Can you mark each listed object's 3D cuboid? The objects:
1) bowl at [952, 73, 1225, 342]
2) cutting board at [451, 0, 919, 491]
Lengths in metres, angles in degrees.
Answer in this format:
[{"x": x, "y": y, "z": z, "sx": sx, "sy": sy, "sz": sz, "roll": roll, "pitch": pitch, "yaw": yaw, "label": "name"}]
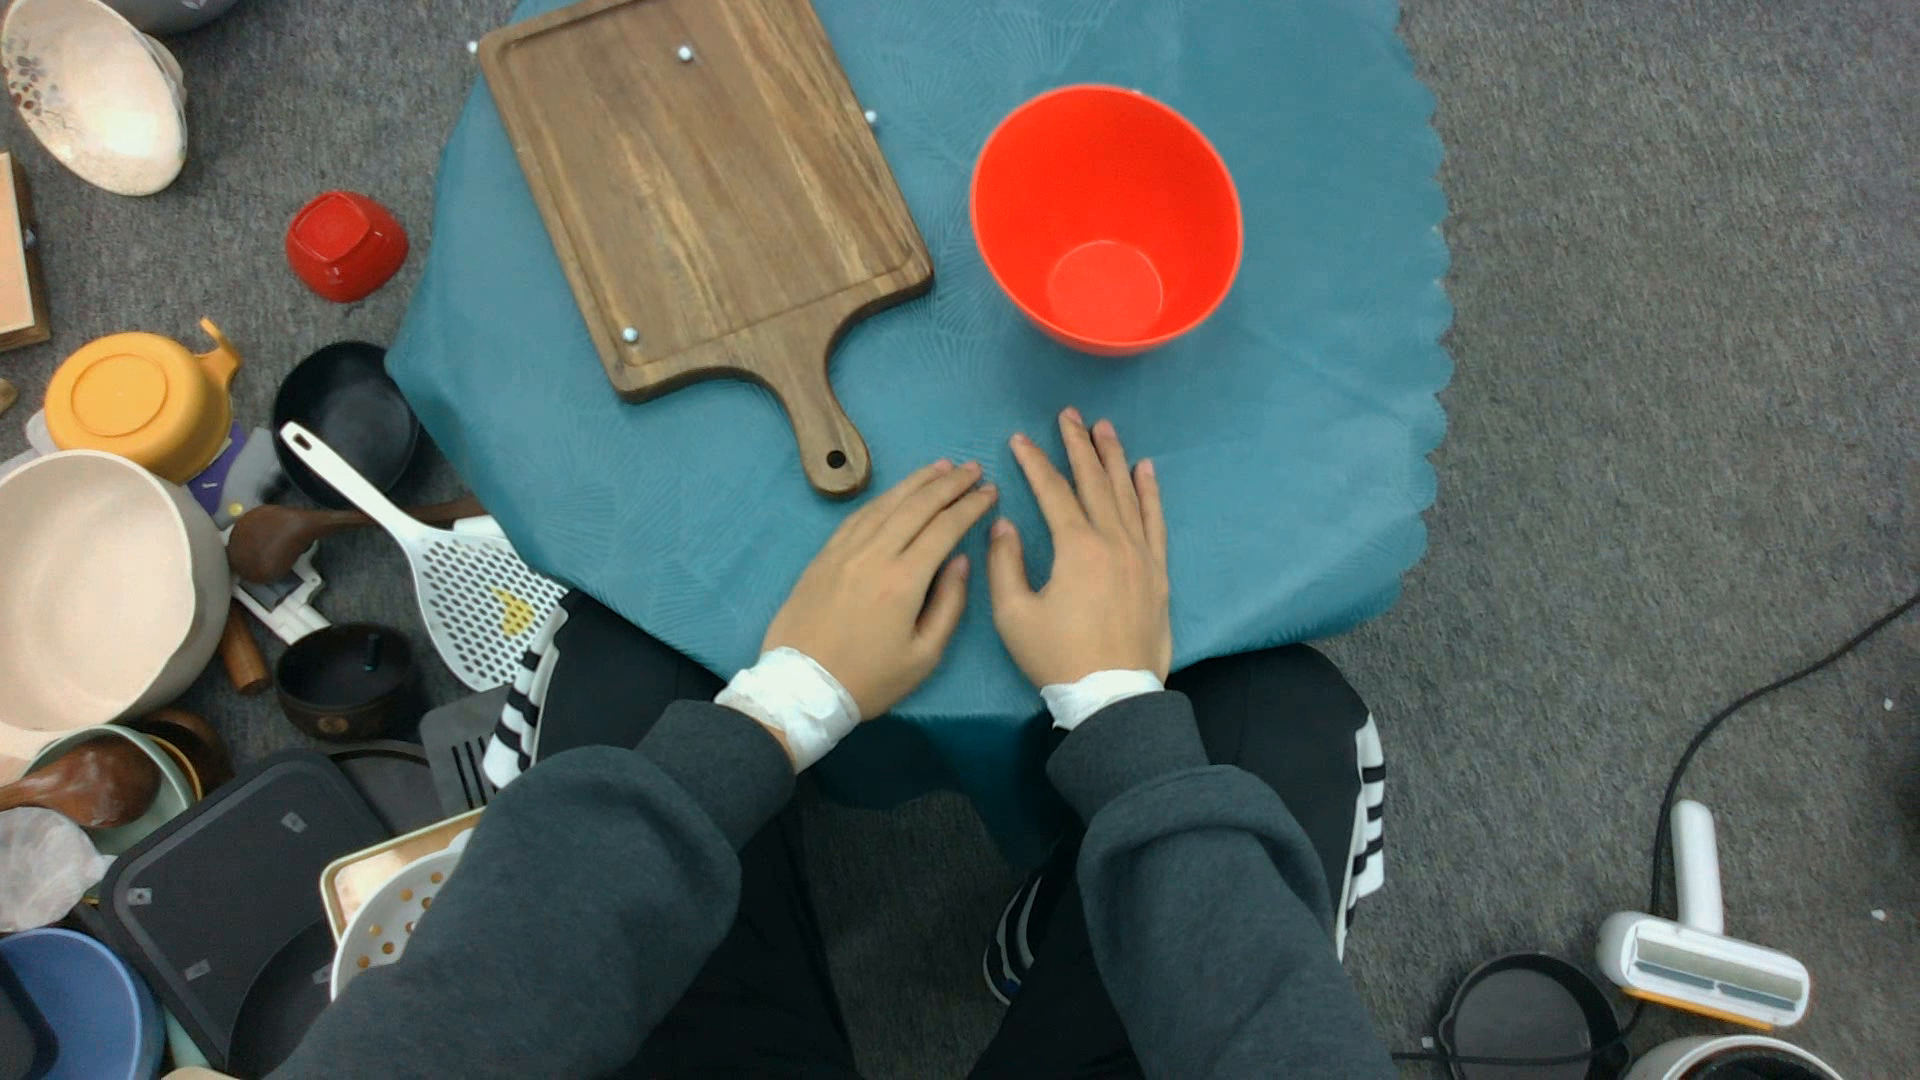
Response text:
[{"x": 0.068, "y": -0.169, "z": 0.764, "sx": 0.148, "sy": 0.104, "sz": 0.148, "roll": 1, "pitch": 73, "yaw": -3, "label": "bowl"}, {"x": -0.142, "y": -0.184, "z": 0.799, "sx": 0.201, "sy": 0.023, "sz": 0.352, "roll": -24, "pitch": 77, "yaw": -9, "label": "cutting board"}]
